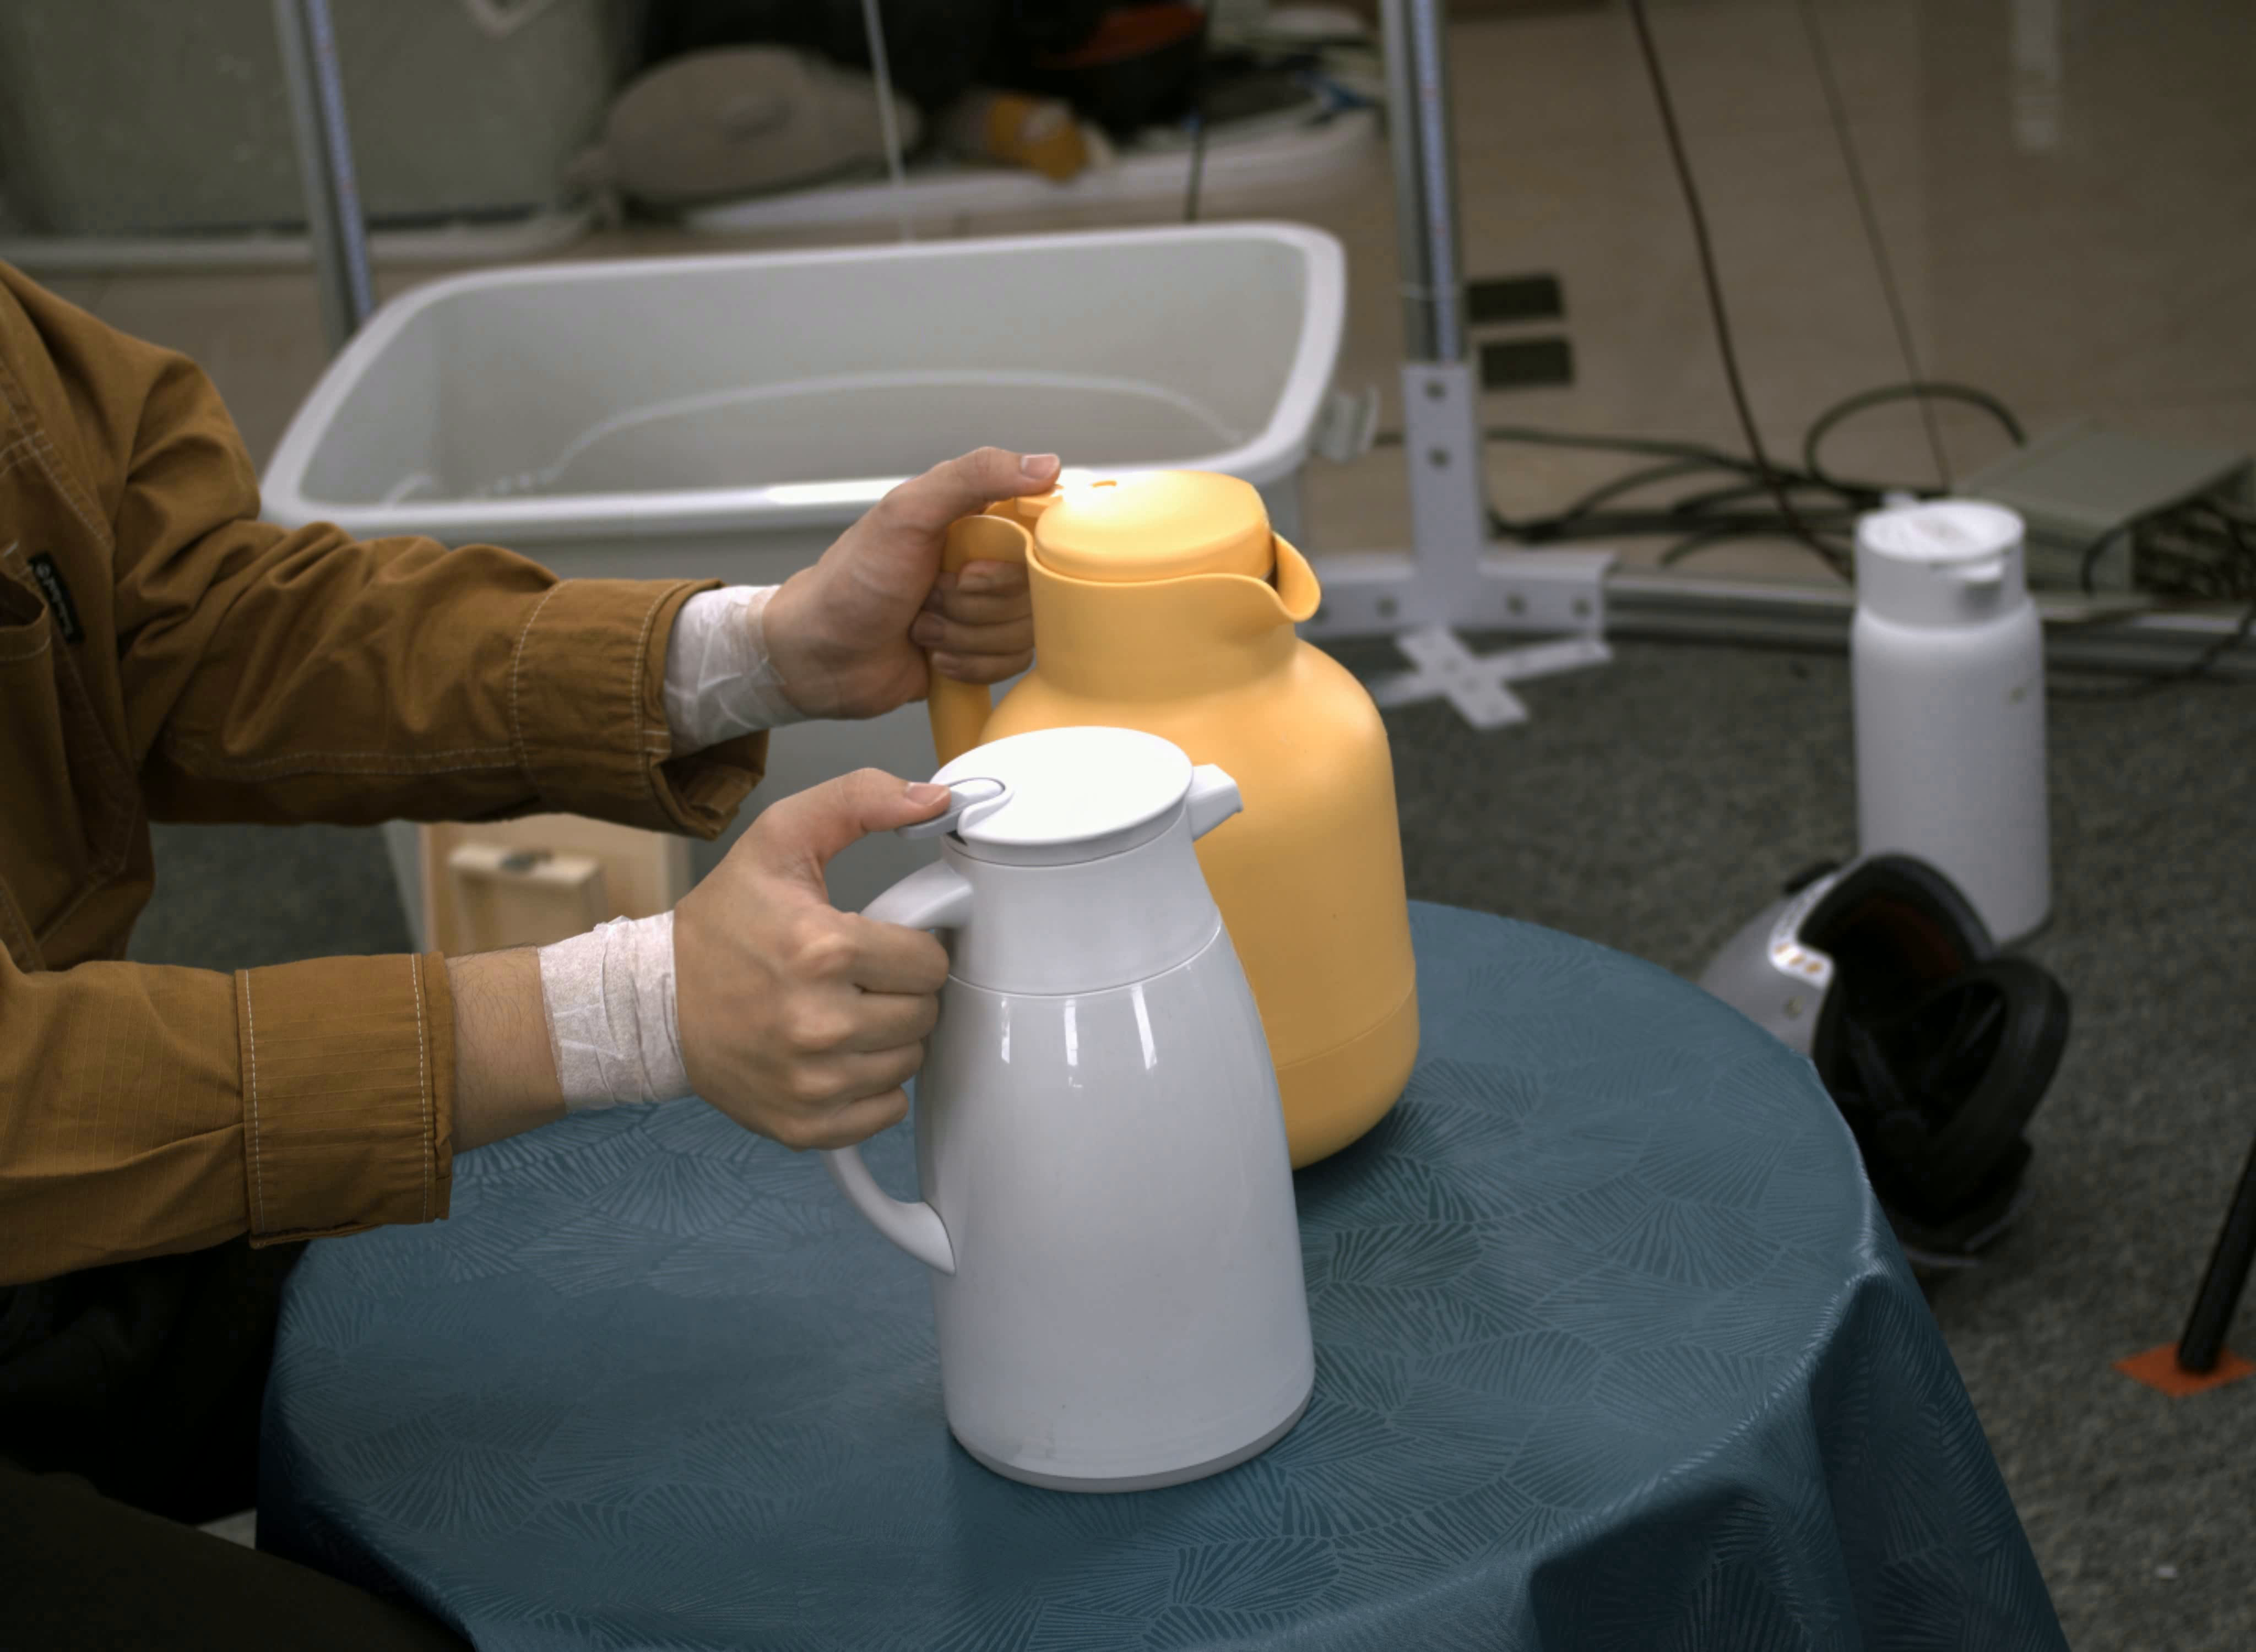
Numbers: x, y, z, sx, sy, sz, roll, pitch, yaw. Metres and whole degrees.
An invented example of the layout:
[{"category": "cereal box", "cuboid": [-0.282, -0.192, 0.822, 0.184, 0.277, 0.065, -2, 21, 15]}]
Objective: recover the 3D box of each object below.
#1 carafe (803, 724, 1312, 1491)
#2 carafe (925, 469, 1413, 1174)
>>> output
[{"category": "carafe", "cuboid": [-0.028, 0.095, 1.950, 0.167, 0.253, 0.131, -17, 28, -20]}, {"category": "carafe", "cuboid": [0.008, -0.009, 2.151, 0.201, 0.264, 0.162, 20, 34, 41]}]
